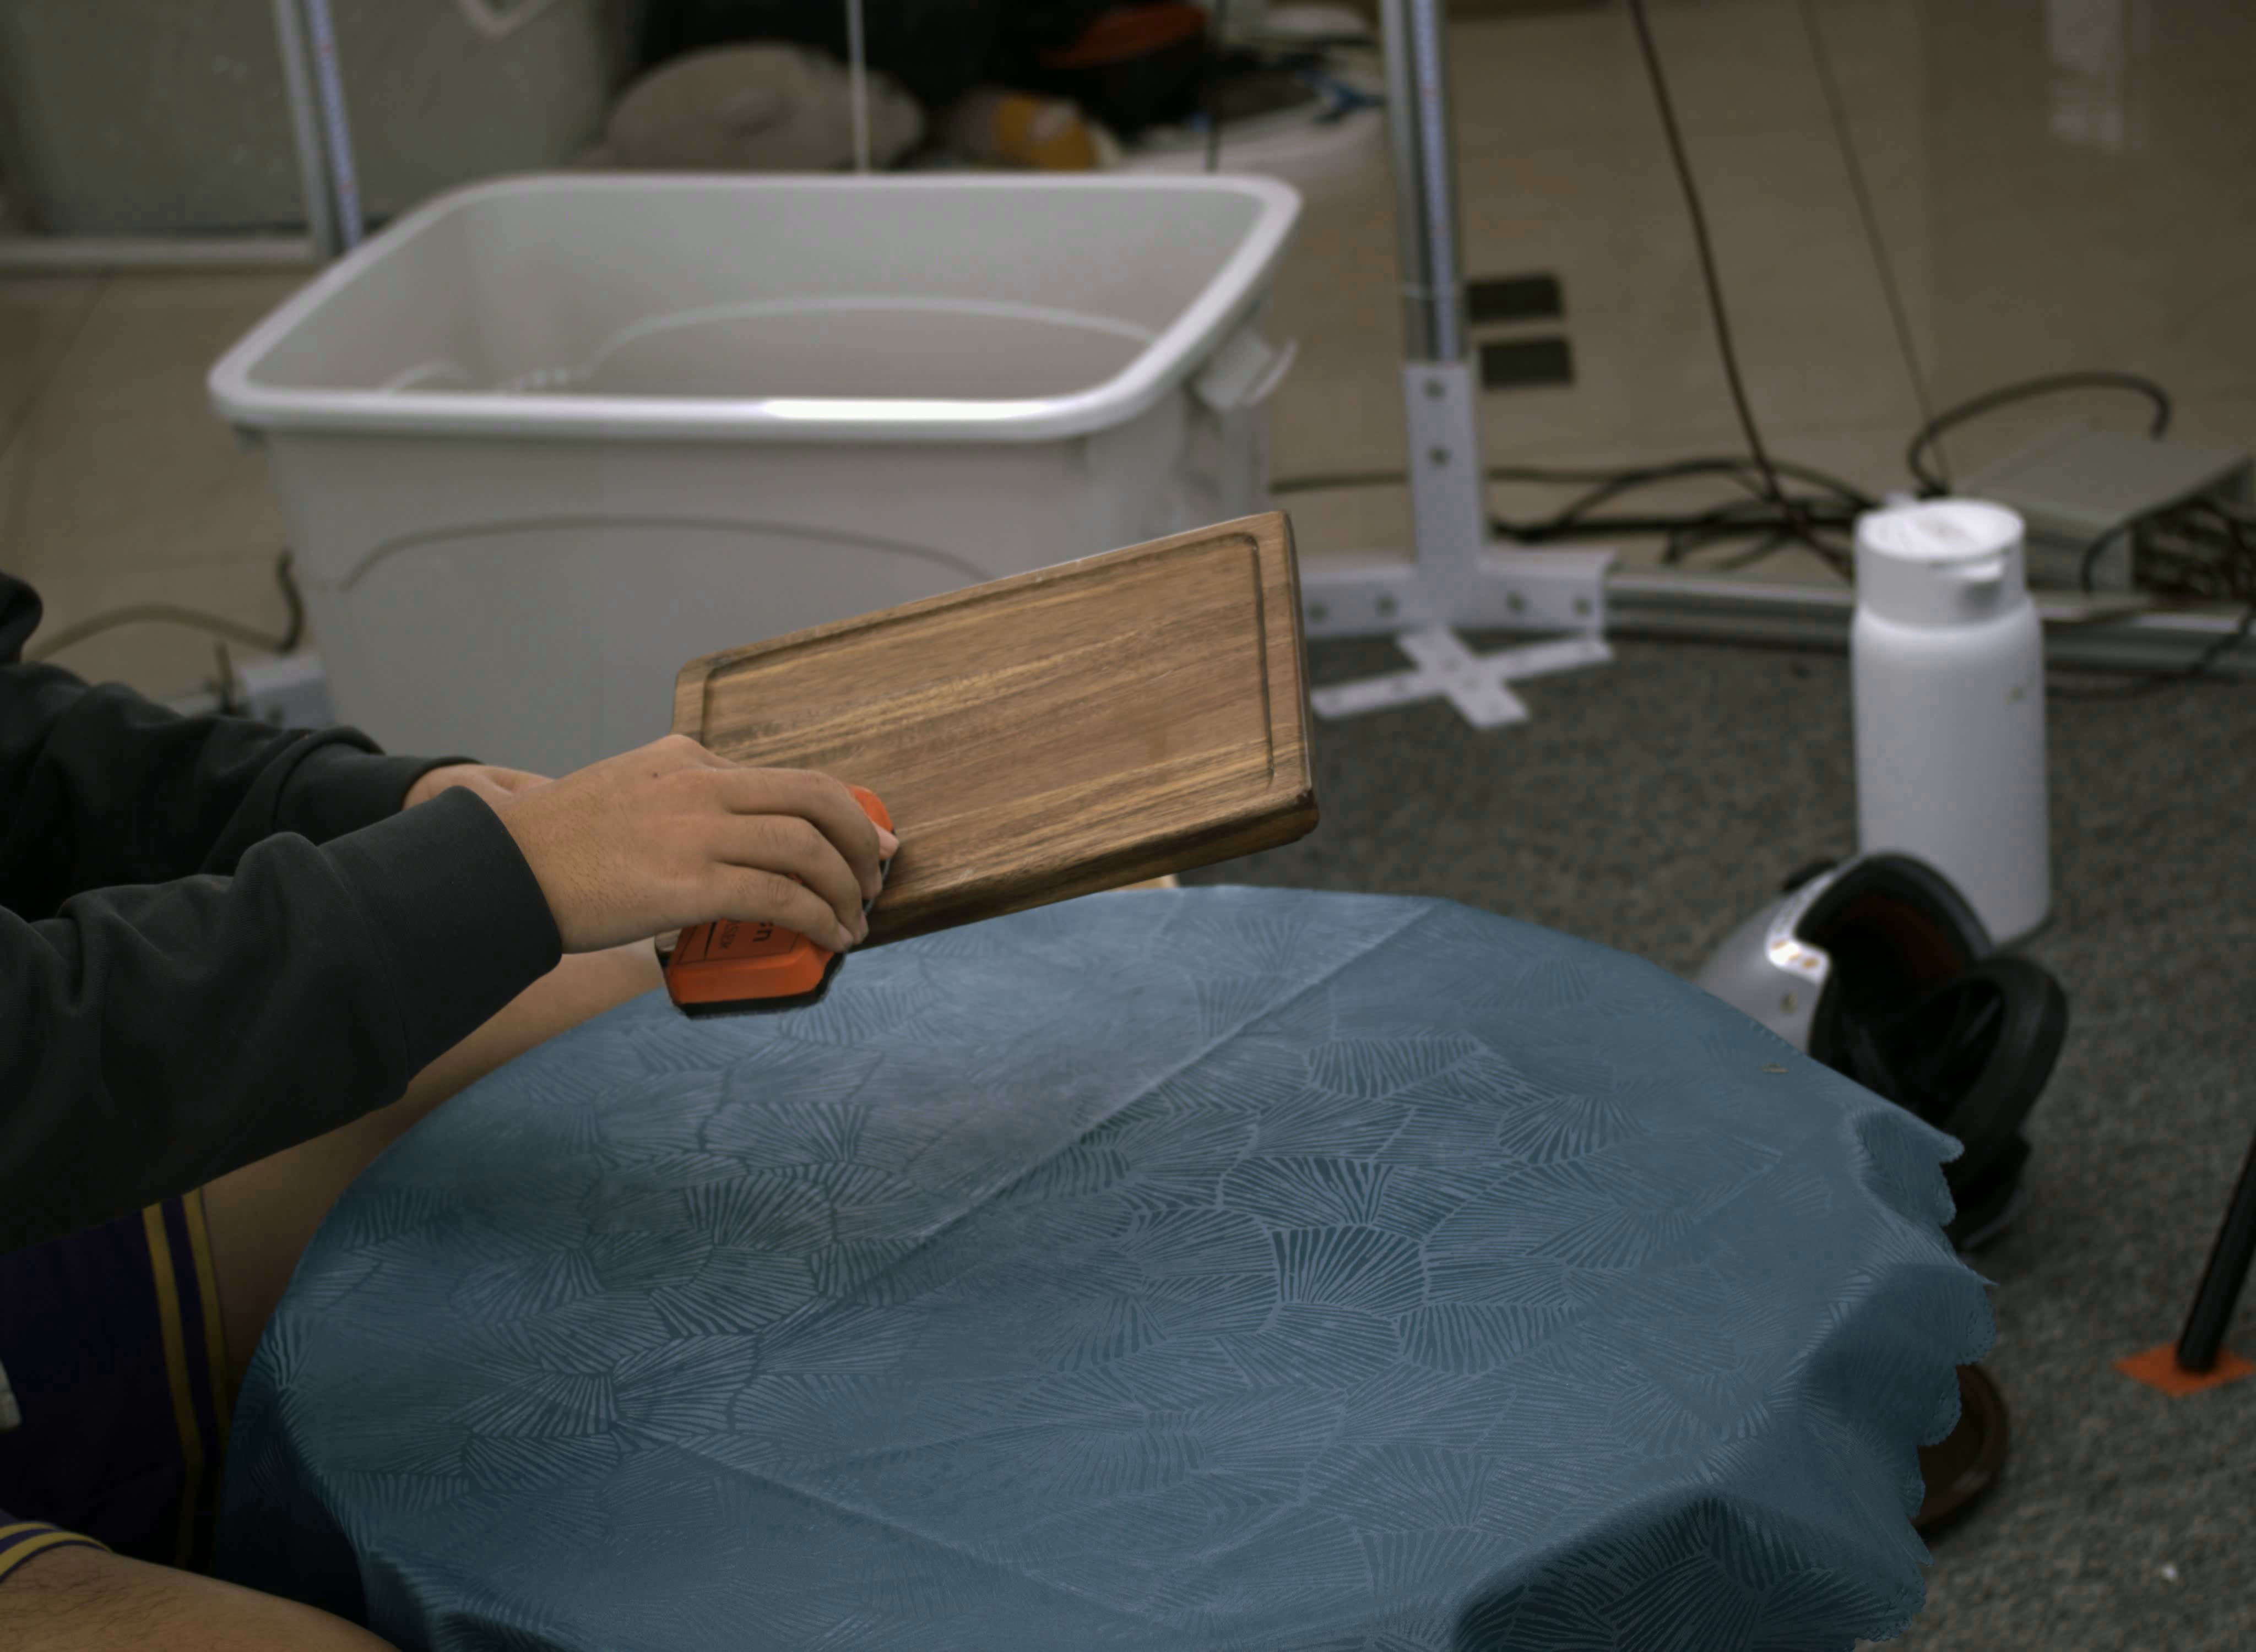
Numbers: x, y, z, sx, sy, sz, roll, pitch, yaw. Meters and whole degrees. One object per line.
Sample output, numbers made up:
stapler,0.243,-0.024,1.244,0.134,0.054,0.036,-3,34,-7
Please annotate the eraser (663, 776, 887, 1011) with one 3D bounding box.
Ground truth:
eraser,-0.127,0.024,2.052,0.059,0.023,0.106,-7,36,21

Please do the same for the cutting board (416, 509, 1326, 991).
cutting board,-0.101,-0.019,2.139,0.352,0.023,0.197,-15,36,9
